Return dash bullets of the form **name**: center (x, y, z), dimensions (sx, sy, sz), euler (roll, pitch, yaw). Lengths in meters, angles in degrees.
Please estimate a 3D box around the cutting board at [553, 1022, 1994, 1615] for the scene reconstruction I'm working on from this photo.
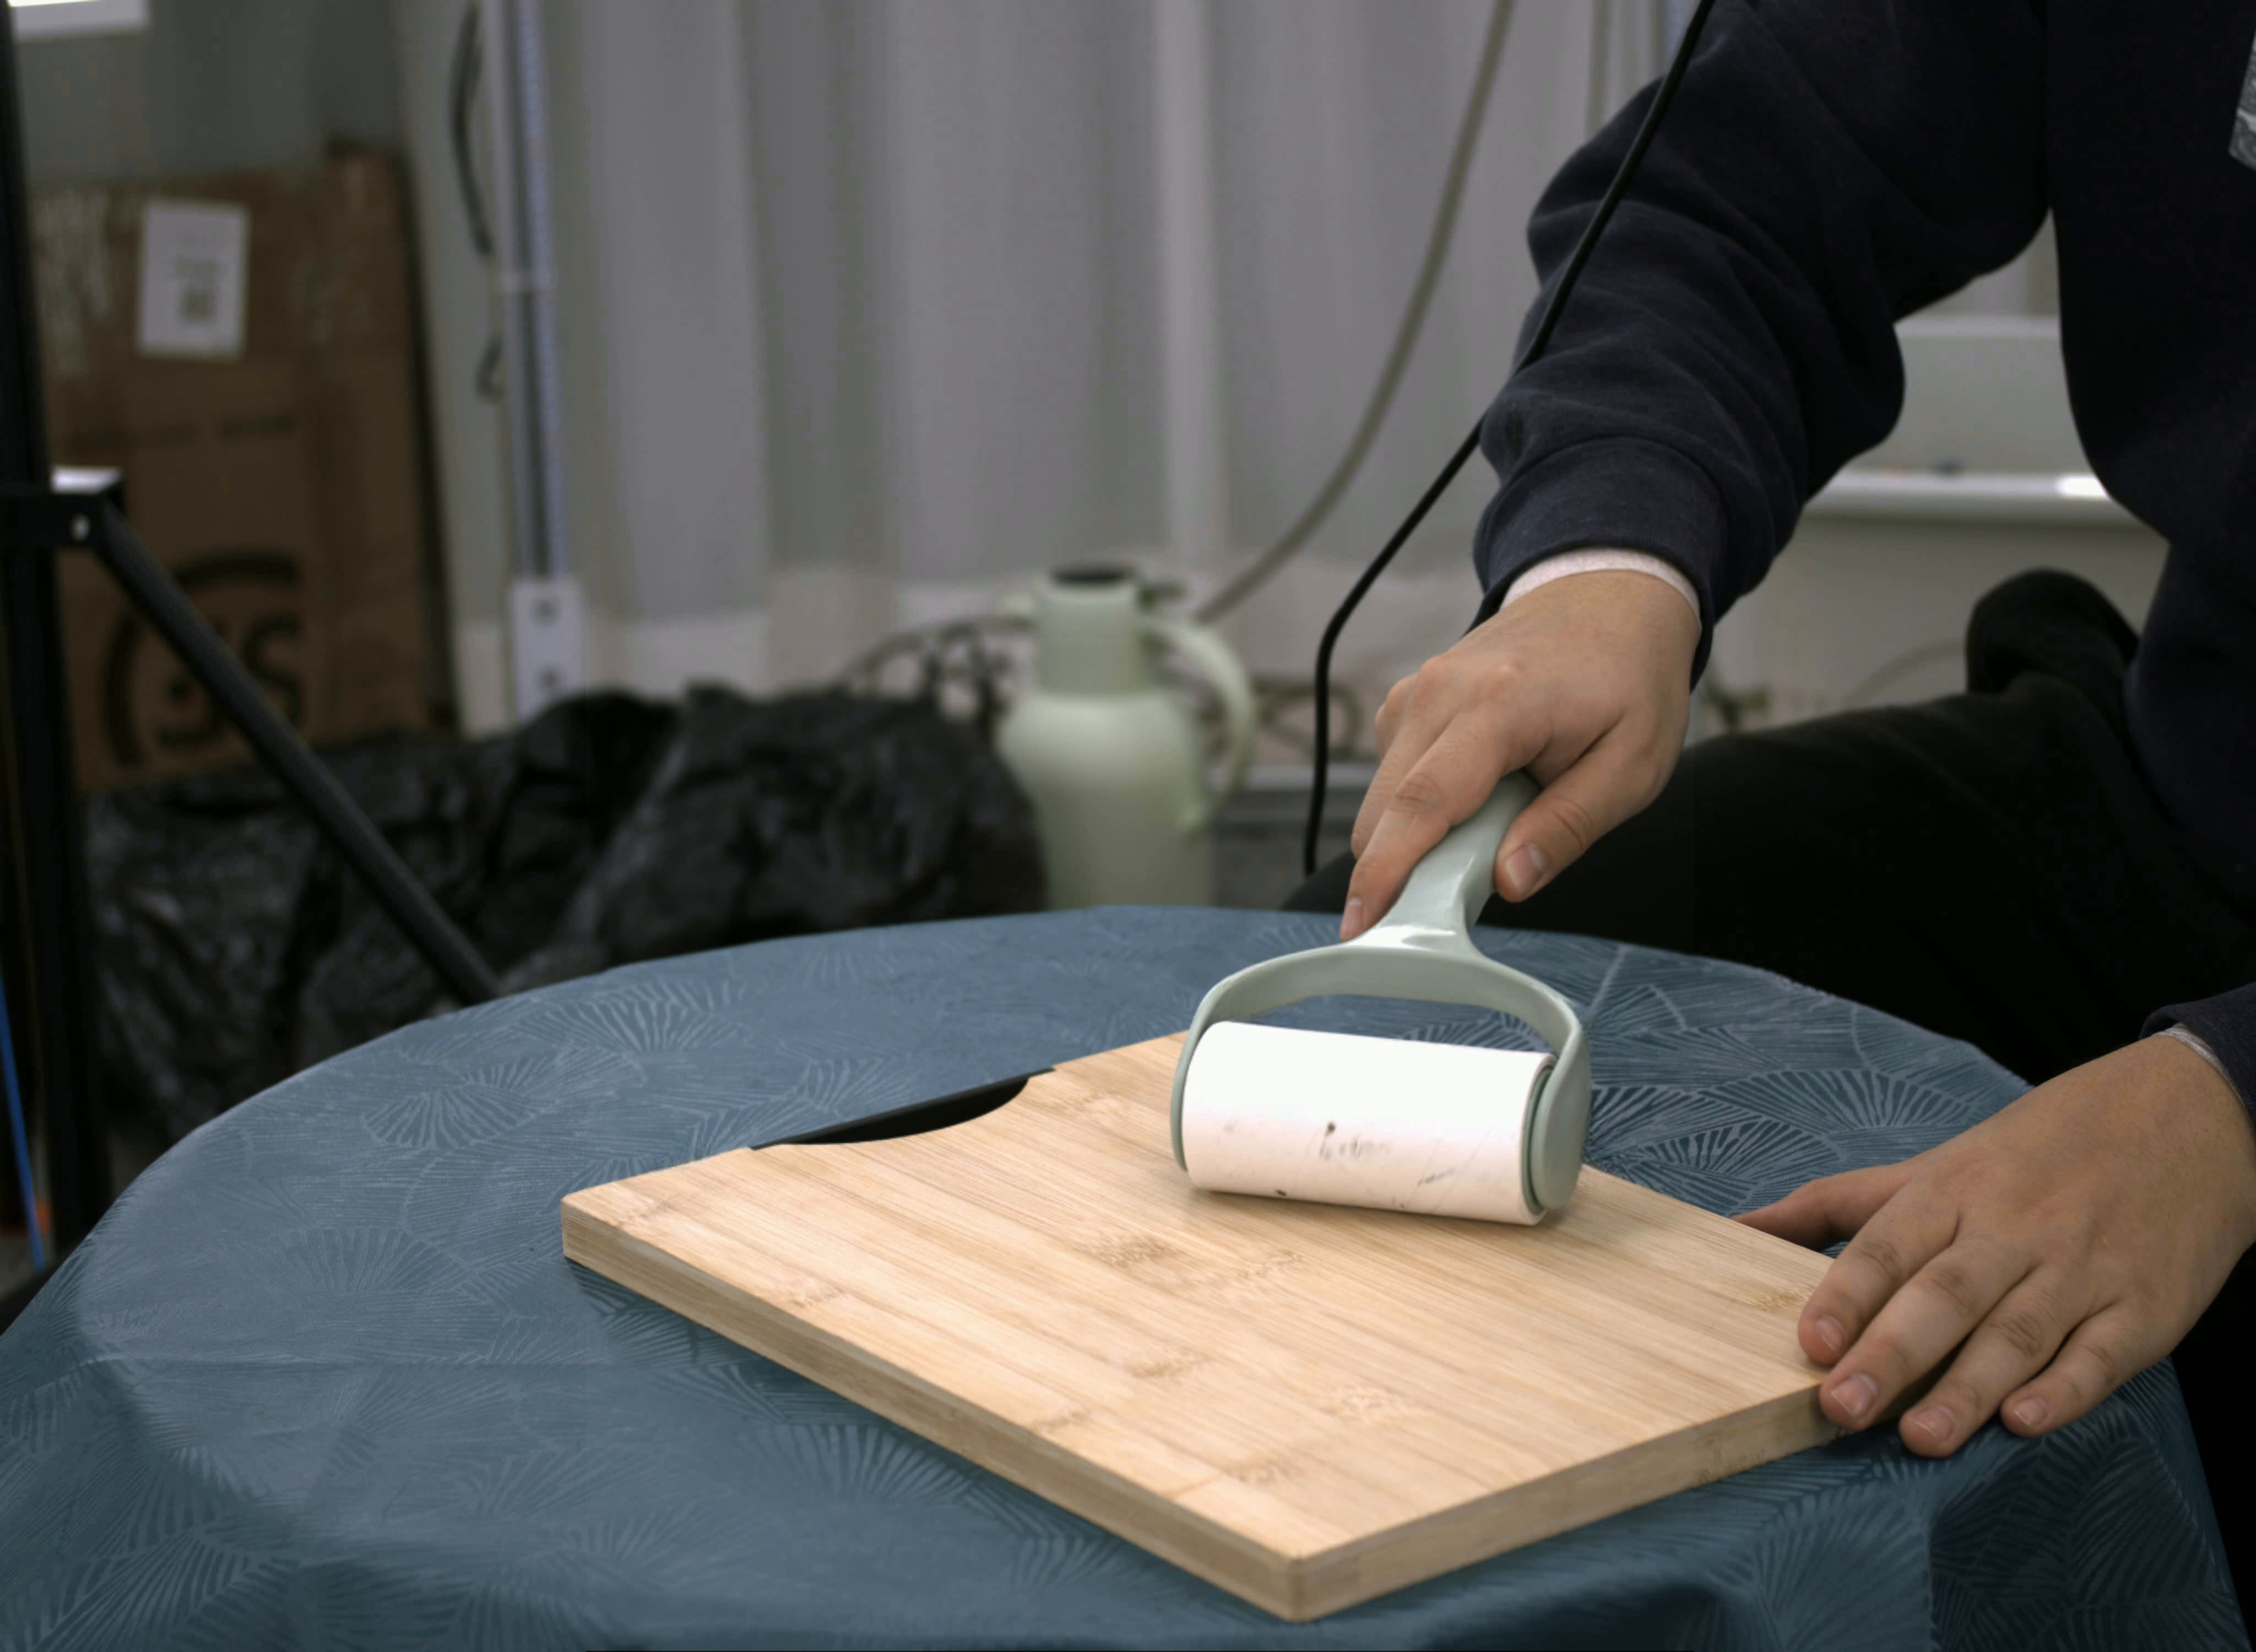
- **cutting board**: center (0.032, 0.126, 1.460), dimensions (0.245, 0.023, 0.357), euler (-13, 19, -35)

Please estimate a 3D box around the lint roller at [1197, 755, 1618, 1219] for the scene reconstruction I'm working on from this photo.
- **lint roller**: center (0.098, 0.036, 1.529), dimensions (0.118, 0.048, 0.197), euler (1, 42, 23)
